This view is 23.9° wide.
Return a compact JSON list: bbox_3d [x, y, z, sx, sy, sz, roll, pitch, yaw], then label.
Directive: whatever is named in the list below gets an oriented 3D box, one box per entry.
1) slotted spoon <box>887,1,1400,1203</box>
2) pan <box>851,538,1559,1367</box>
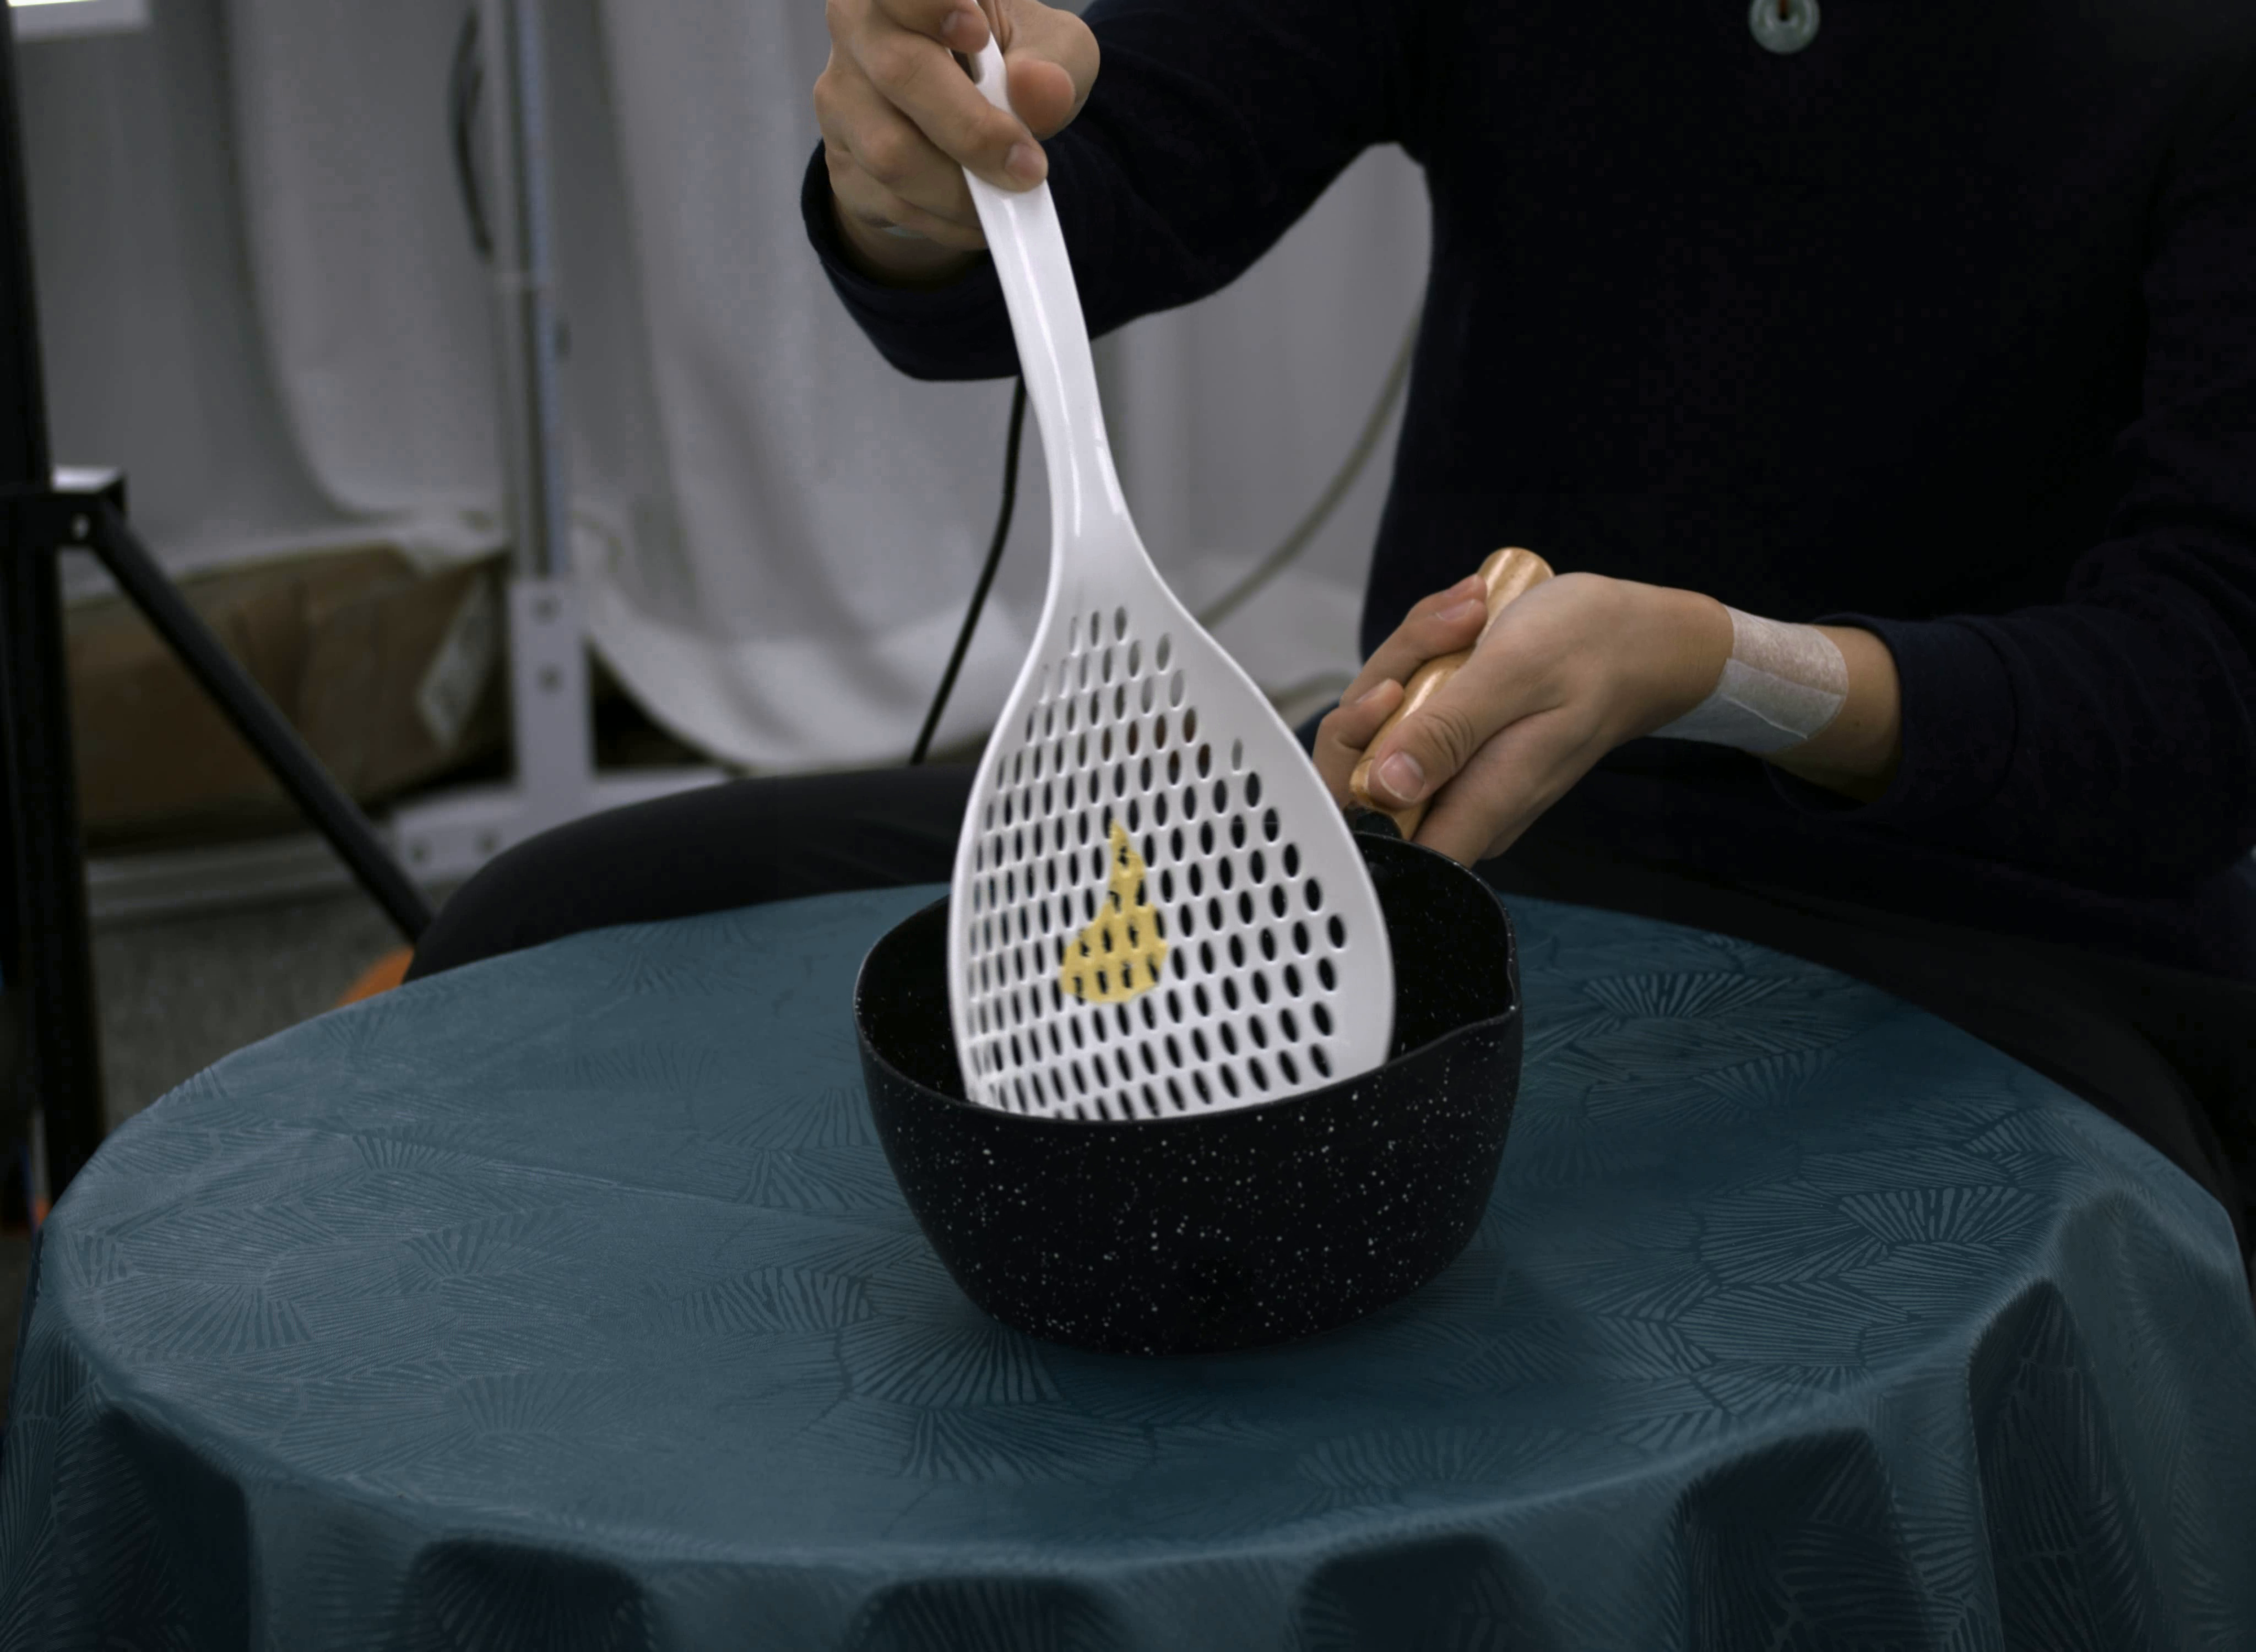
[{"bbox_3d":[-0.015,-0.066,1.426,0.134,0.348,0.051,-14,10,-25],"label":"slotted spoon"},{"bbox_3d":[0.052,0.032,1.532,0.211,0.107,0.339,4,28,27],"label":"pan"}]
